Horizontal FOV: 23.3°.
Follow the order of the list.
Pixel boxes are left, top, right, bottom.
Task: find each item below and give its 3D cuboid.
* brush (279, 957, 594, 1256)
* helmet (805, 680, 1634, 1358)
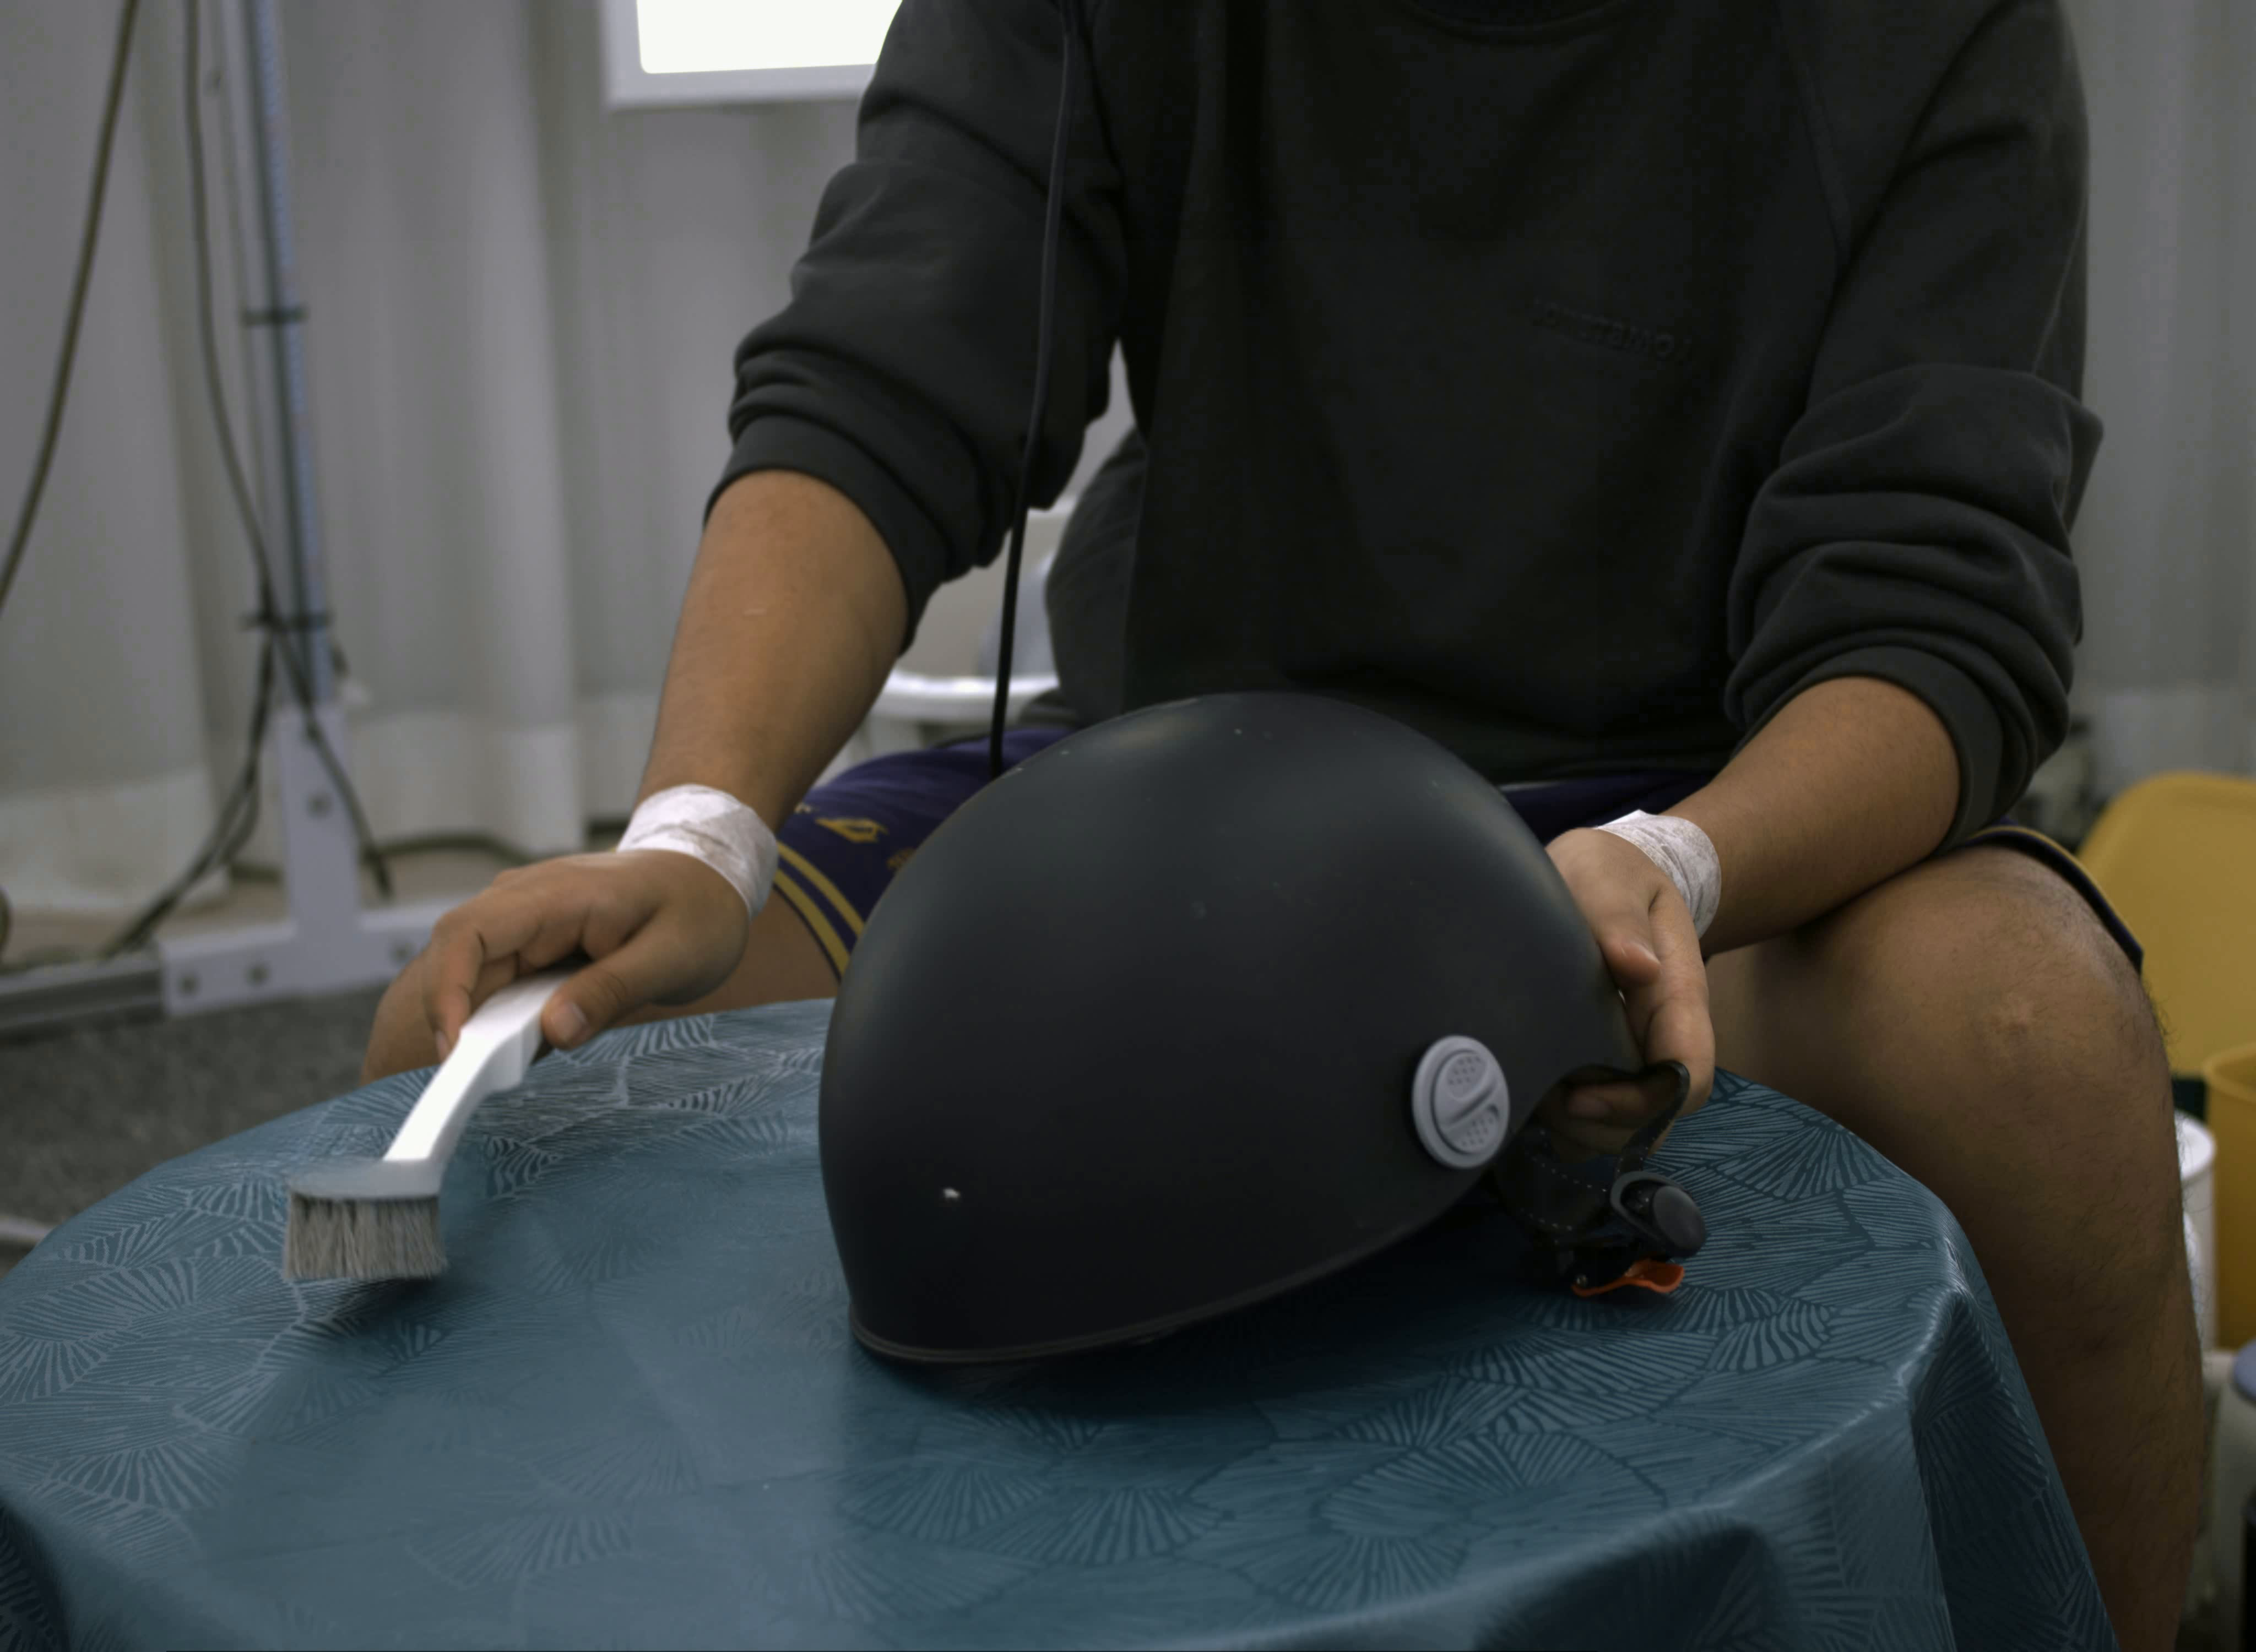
[{"bbox_3d":[-0.212,0.091,1.726,0.034,0.050,0.244,-3,12,13],"label":"brush"},{"bbox_3d":[0.016,0.046,1.628,0.230,0.166,0.273,-10,9,38],"label":"helmet"}]
